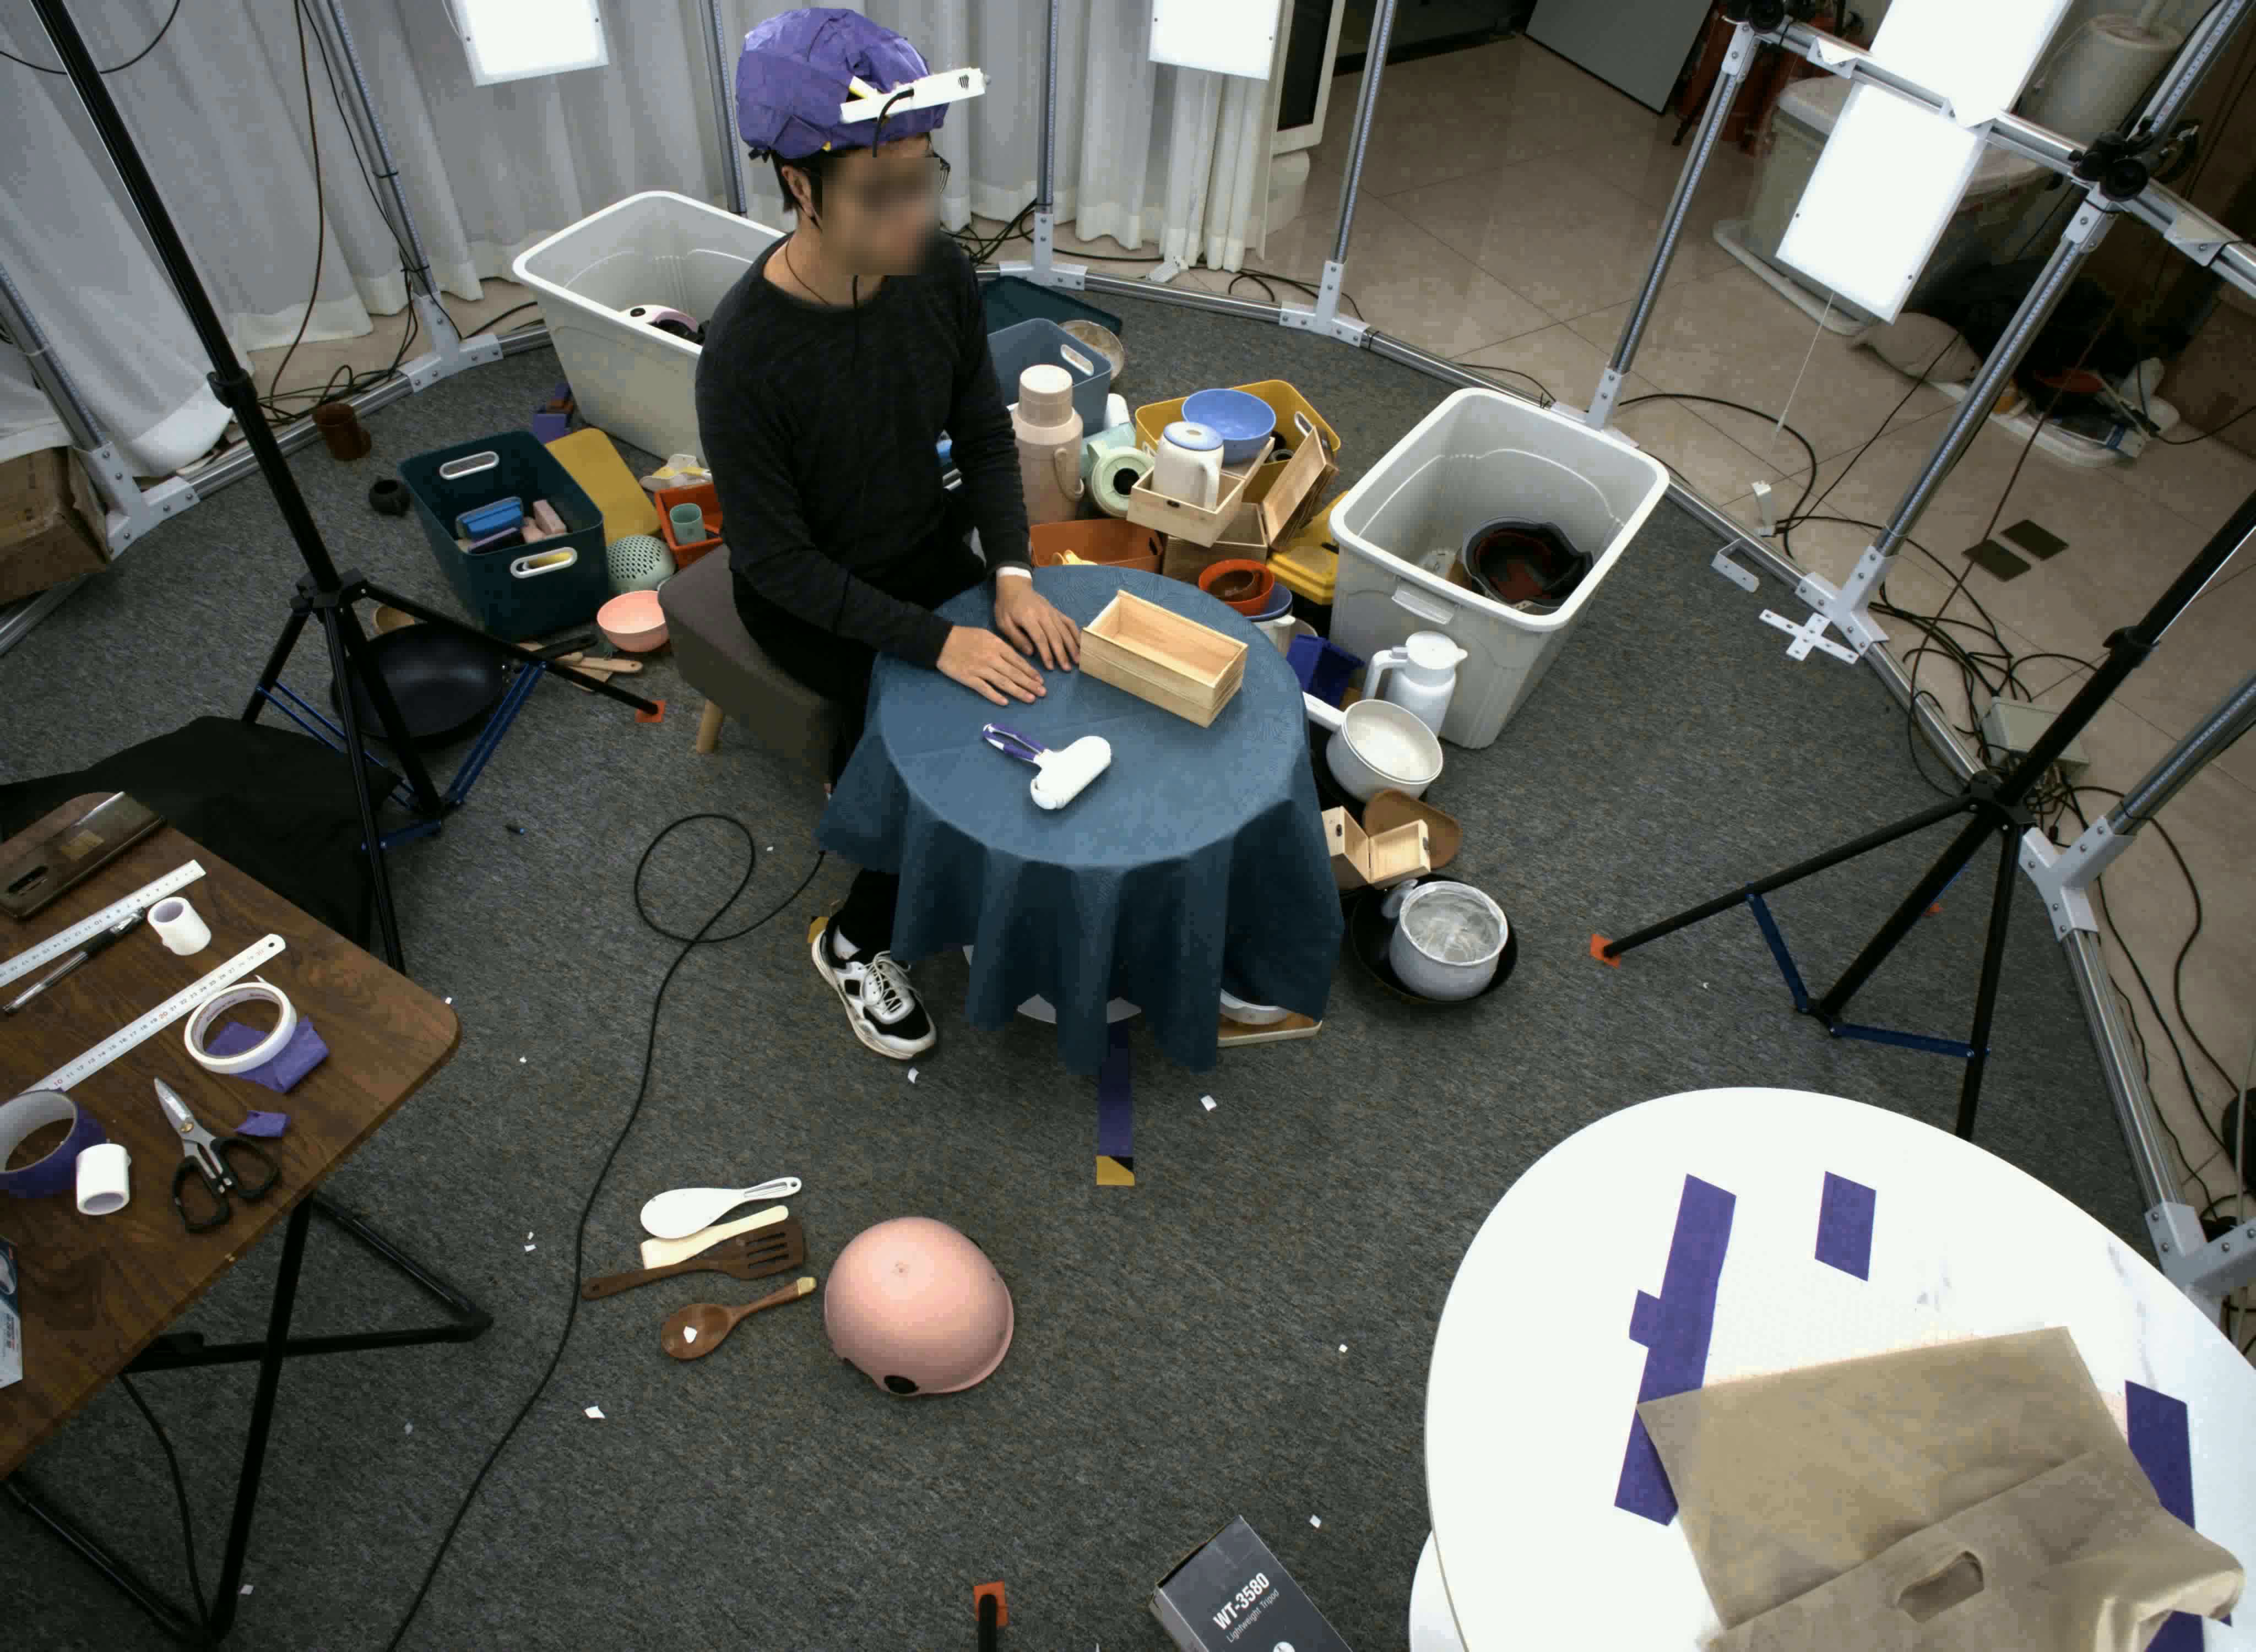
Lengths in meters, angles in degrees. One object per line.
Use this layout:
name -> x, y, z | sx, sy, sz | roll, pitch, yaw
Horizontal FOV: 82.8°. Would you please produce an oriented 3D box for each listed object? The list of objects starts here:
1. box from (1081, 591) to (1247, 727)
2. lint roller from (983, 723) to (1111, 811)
box -> 0.049, -0.239, 1.830 | 0.213, 0.078, 0.109 | 25, 53, 18
lint roller -> -0.123, -0.104, 1.721 | 0.183, 0.049, 0.134 | 34, 57, 21
